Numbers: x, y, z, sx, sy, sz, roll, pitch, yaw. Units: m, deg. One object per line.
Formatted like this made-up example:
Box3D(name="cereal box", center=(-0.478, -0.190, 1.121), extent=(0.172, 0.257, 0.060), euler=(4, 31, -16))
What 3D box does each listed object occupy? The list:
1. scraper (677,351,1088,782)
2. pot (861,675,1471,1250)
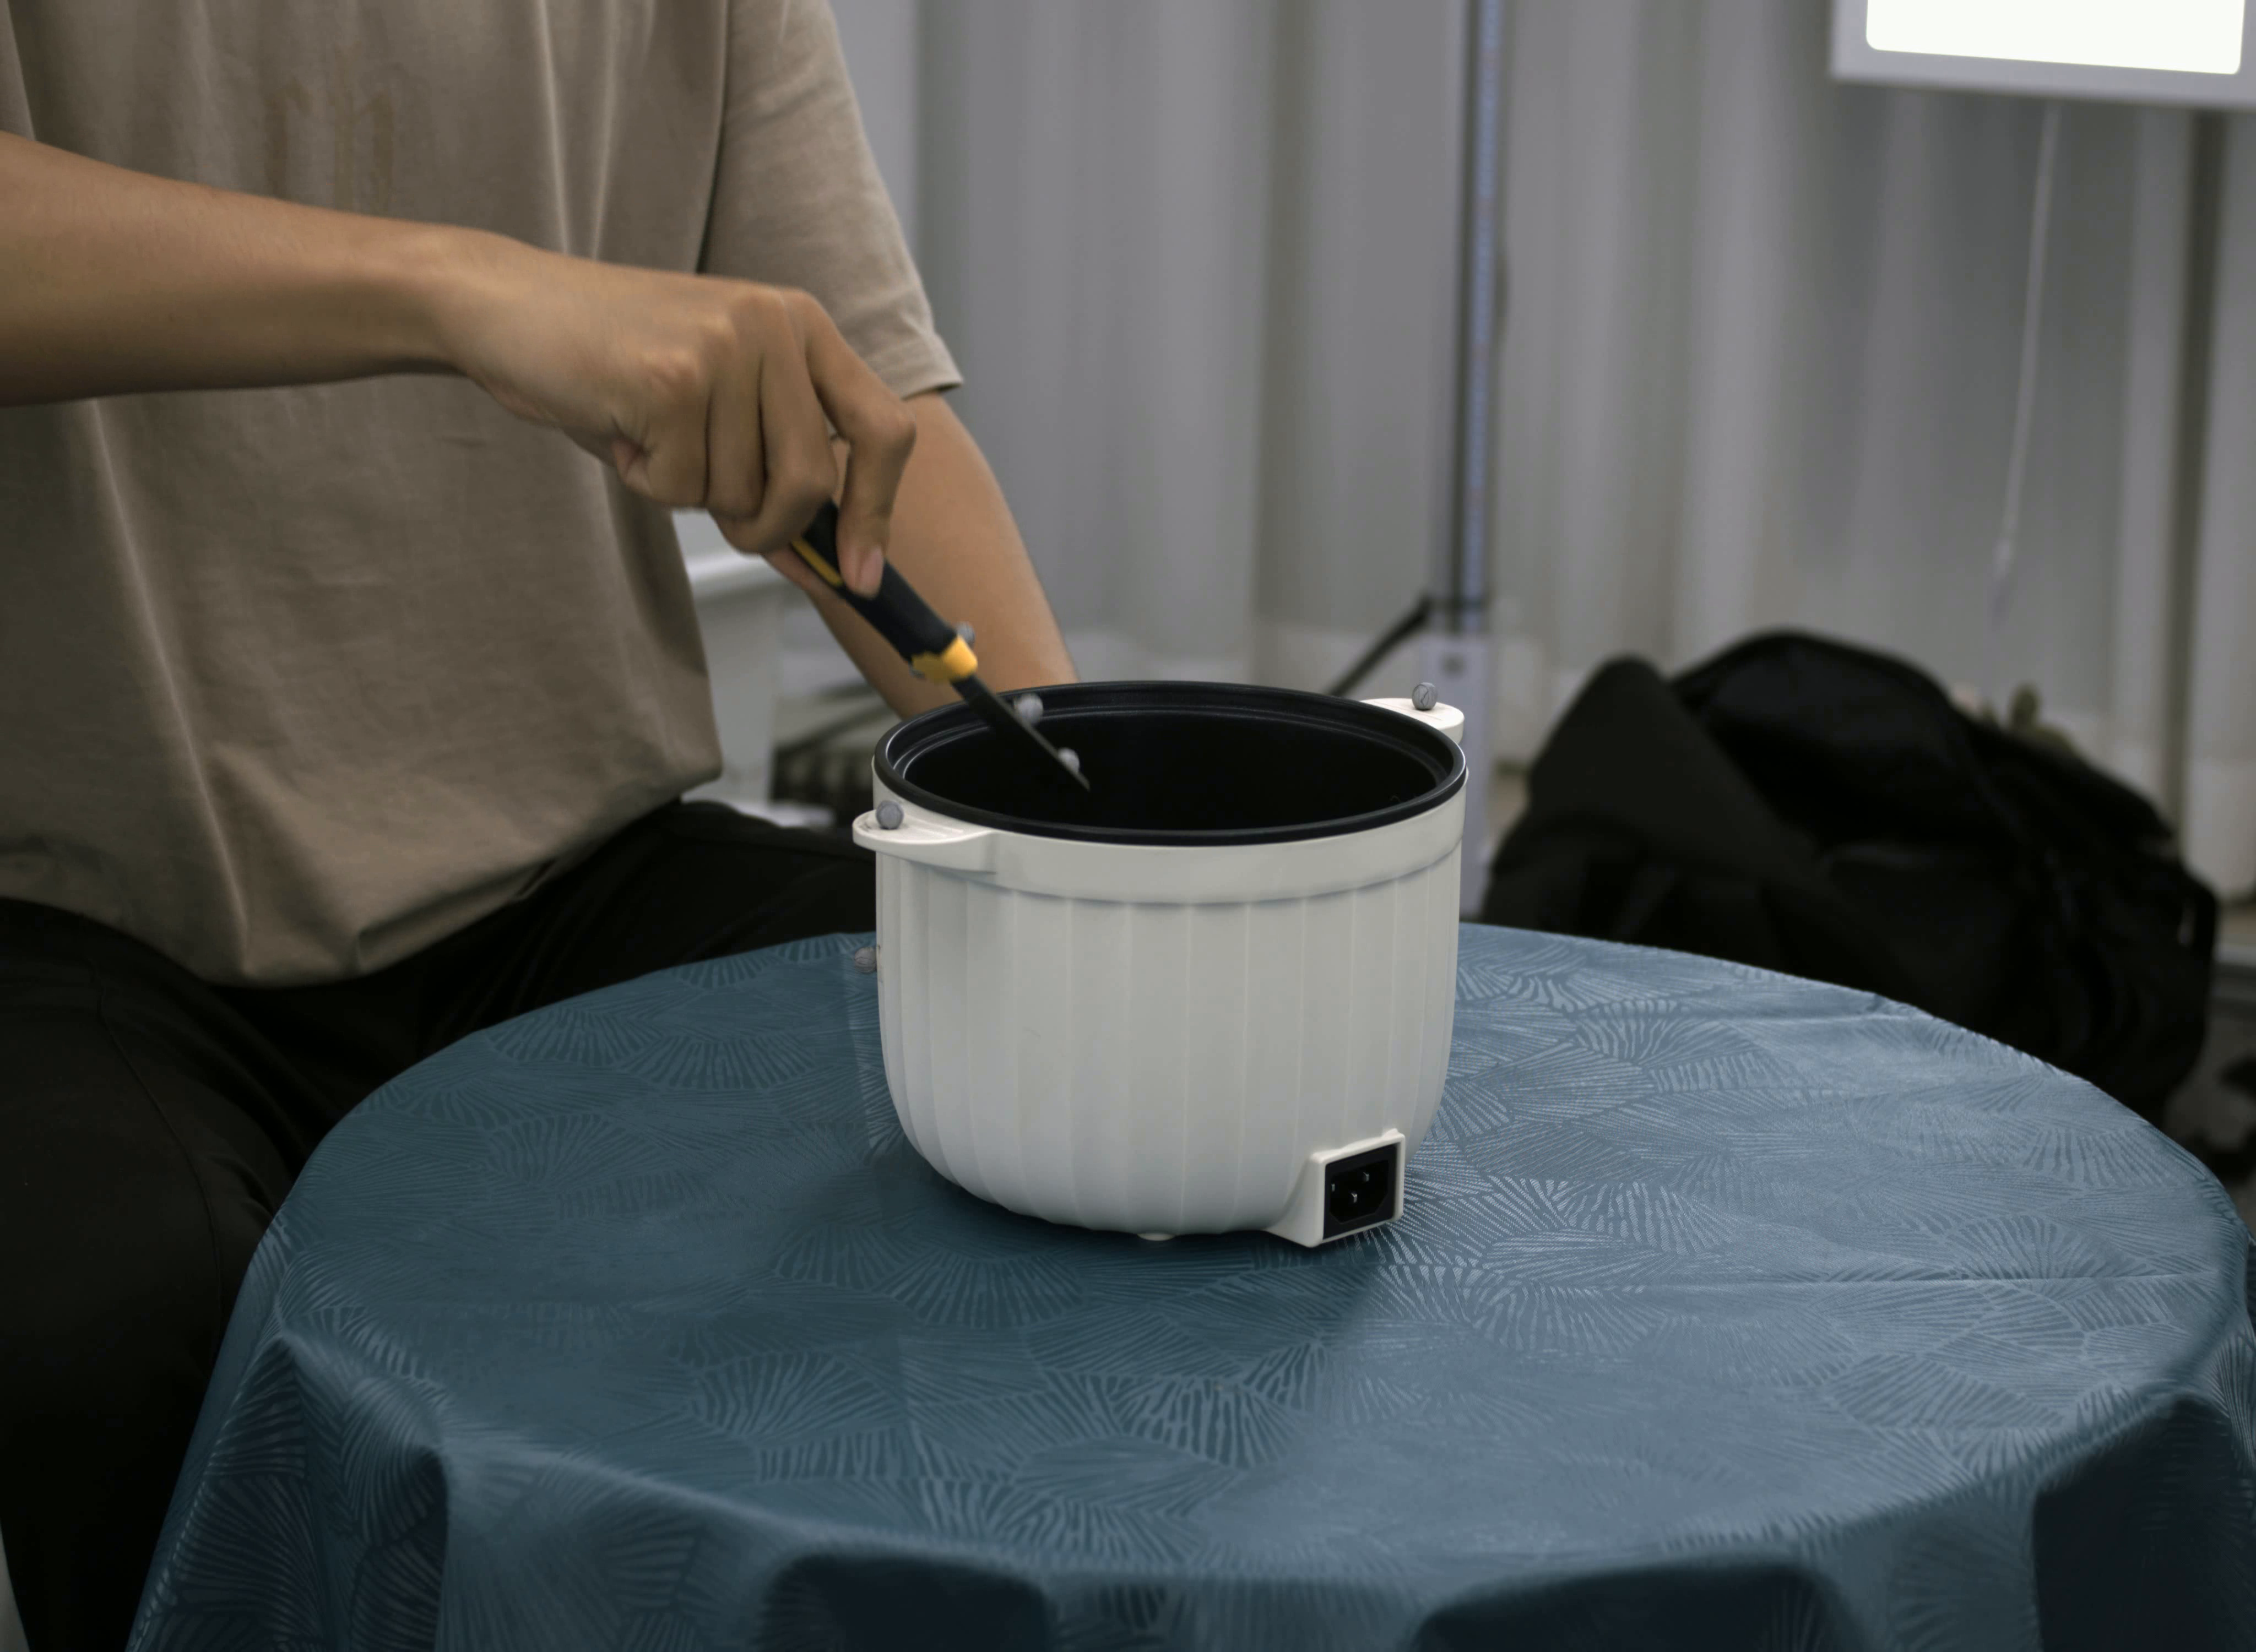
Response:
Box3D(name="scraper", center=(-0.072, -0.074, 1.543), extent=(0.015, 0.172, 0.038), euler=(-45, 16, -10))
Box3D(name="pot", center=(0.008, 0.041, 1.623), extent=(0.241, 0.144, 0.188), euler=(-13, 24, -42))
